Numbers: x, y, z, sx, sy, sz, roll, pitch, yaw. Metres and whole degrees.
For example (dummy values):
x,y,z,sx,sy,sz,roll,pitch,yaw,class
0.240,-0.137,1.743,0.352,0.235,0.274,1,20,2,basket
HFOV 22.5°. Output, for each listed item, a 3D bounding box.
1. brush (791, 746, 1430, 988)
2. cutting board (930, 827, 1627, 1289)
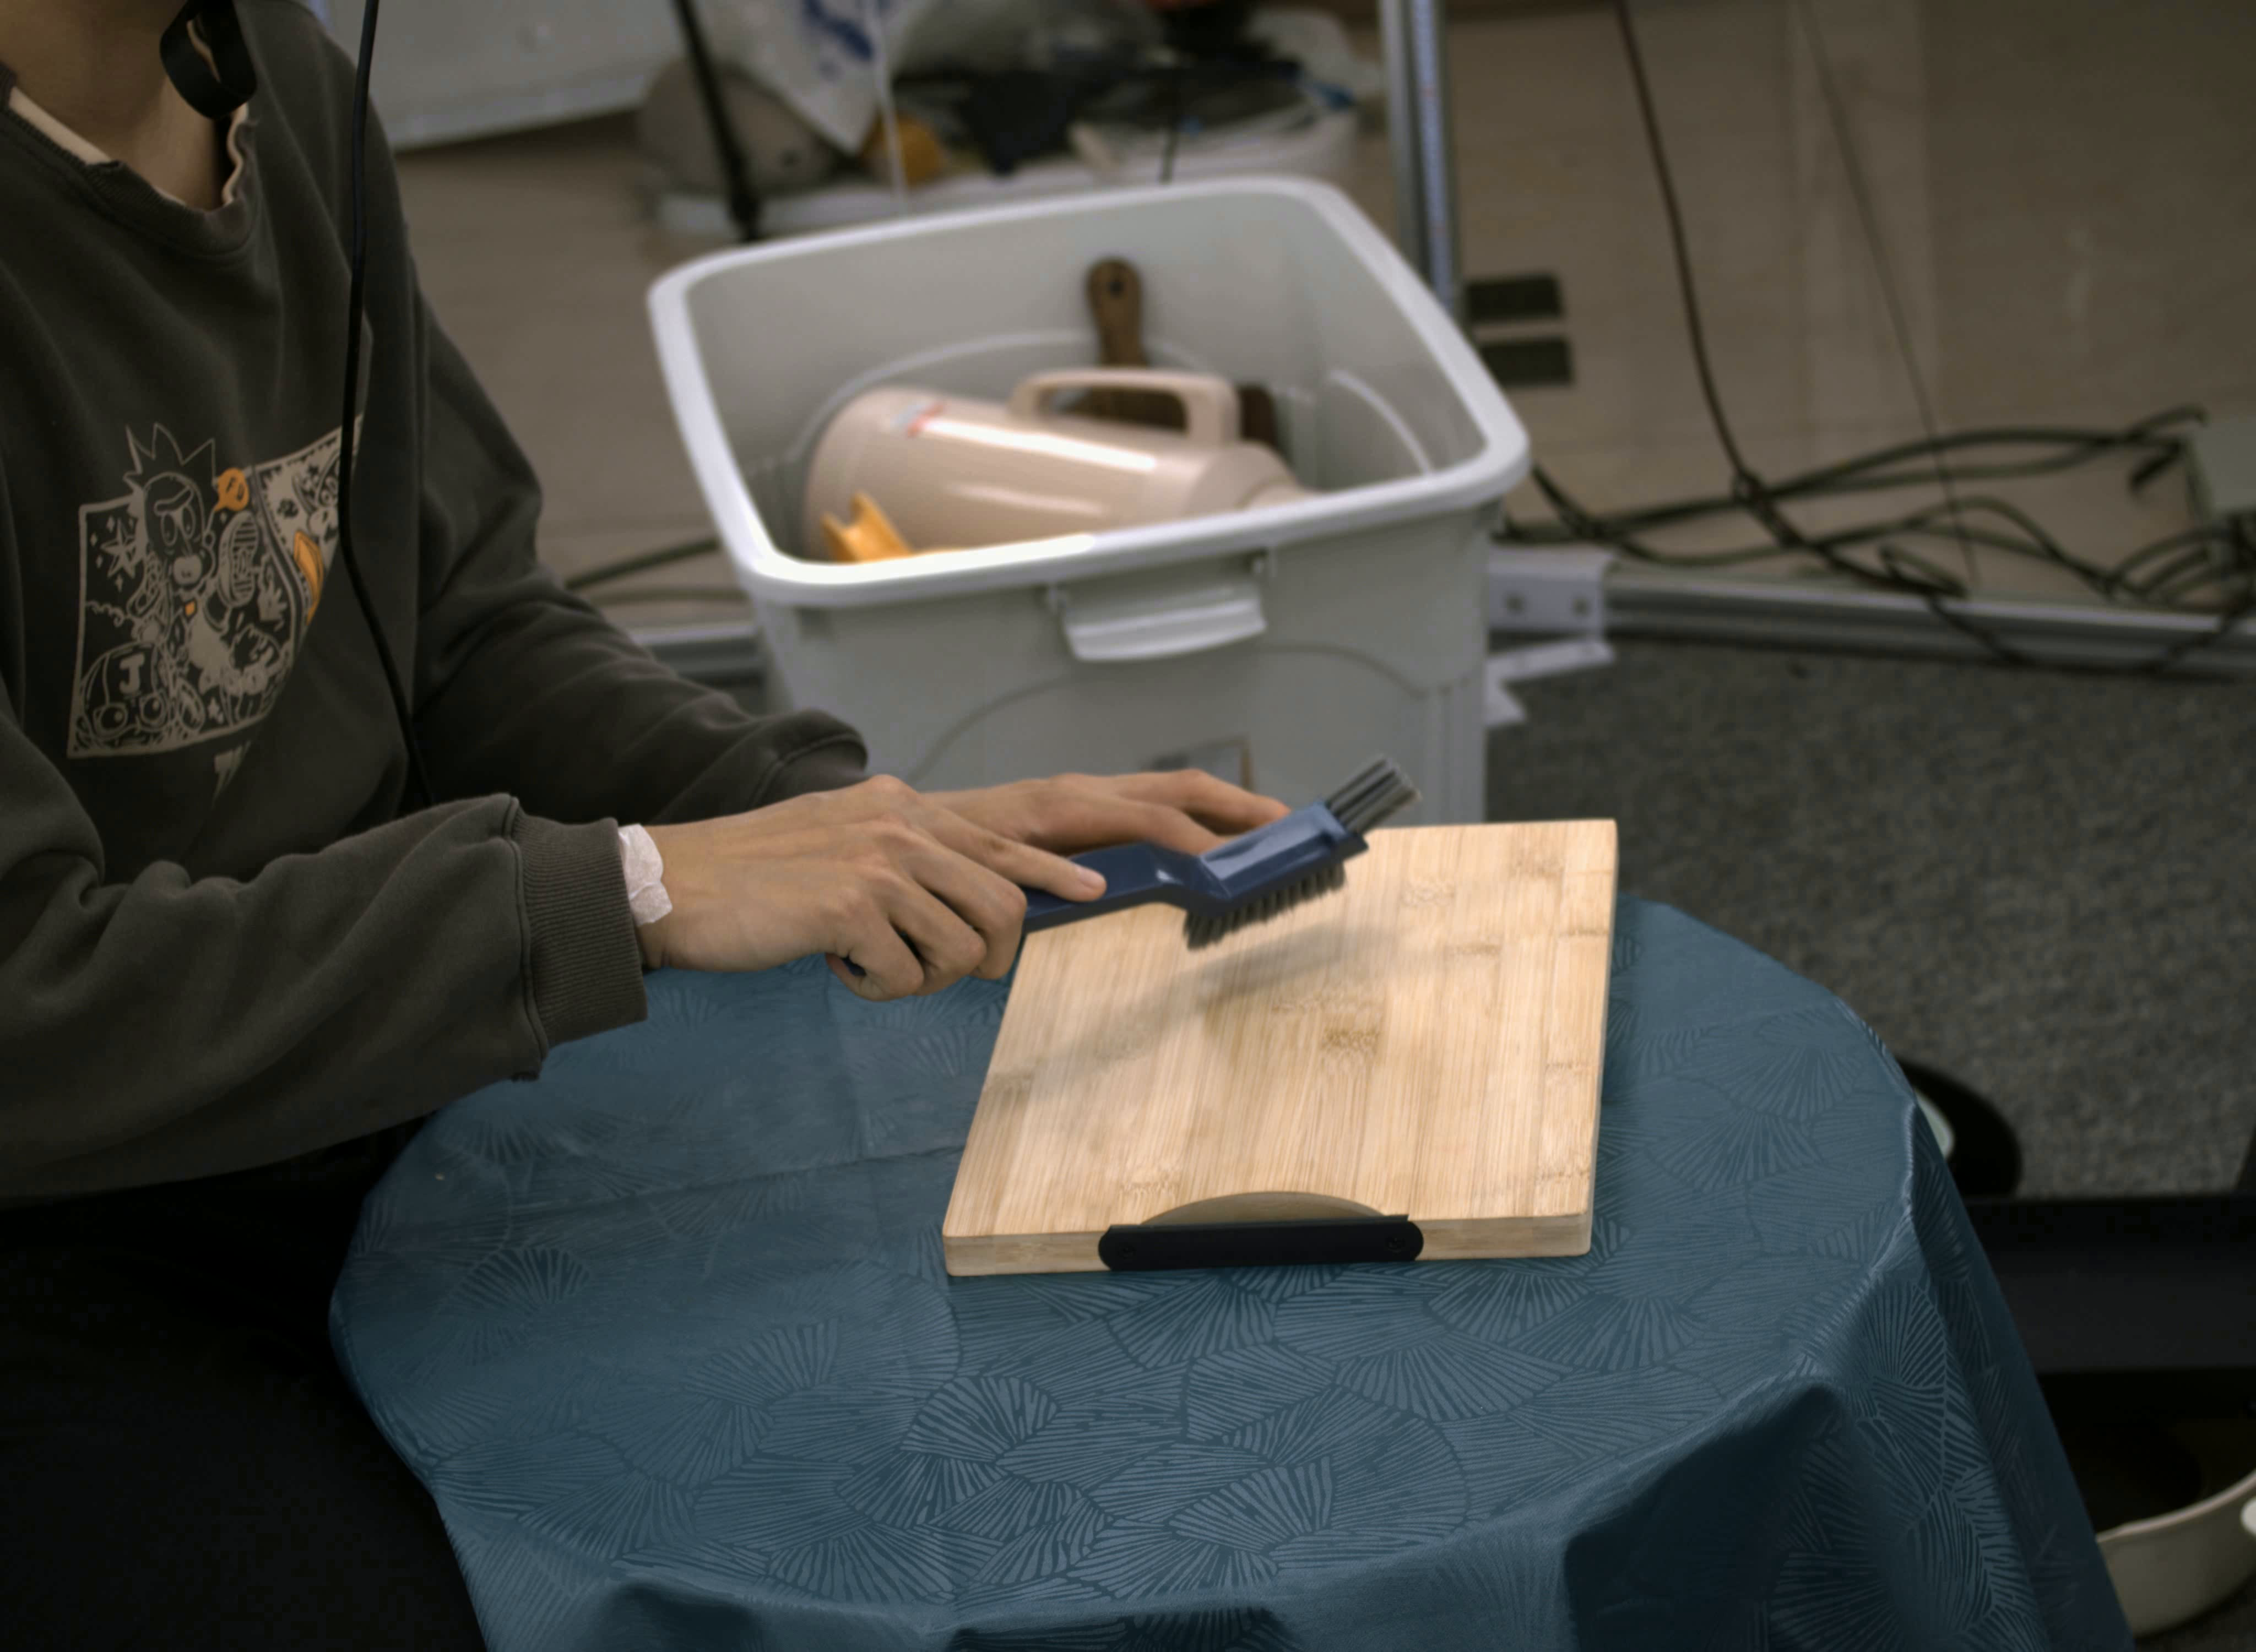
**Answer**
x,y,z,sx,sy,sz,roll,pitch,yaw,class
-0.005,0.015,2.186,0.272,0.097,0.033,-7,53,-42,brush
0.067,0.086,2.226,0.250,0.024,0.343,-4,25,8,cutting board
